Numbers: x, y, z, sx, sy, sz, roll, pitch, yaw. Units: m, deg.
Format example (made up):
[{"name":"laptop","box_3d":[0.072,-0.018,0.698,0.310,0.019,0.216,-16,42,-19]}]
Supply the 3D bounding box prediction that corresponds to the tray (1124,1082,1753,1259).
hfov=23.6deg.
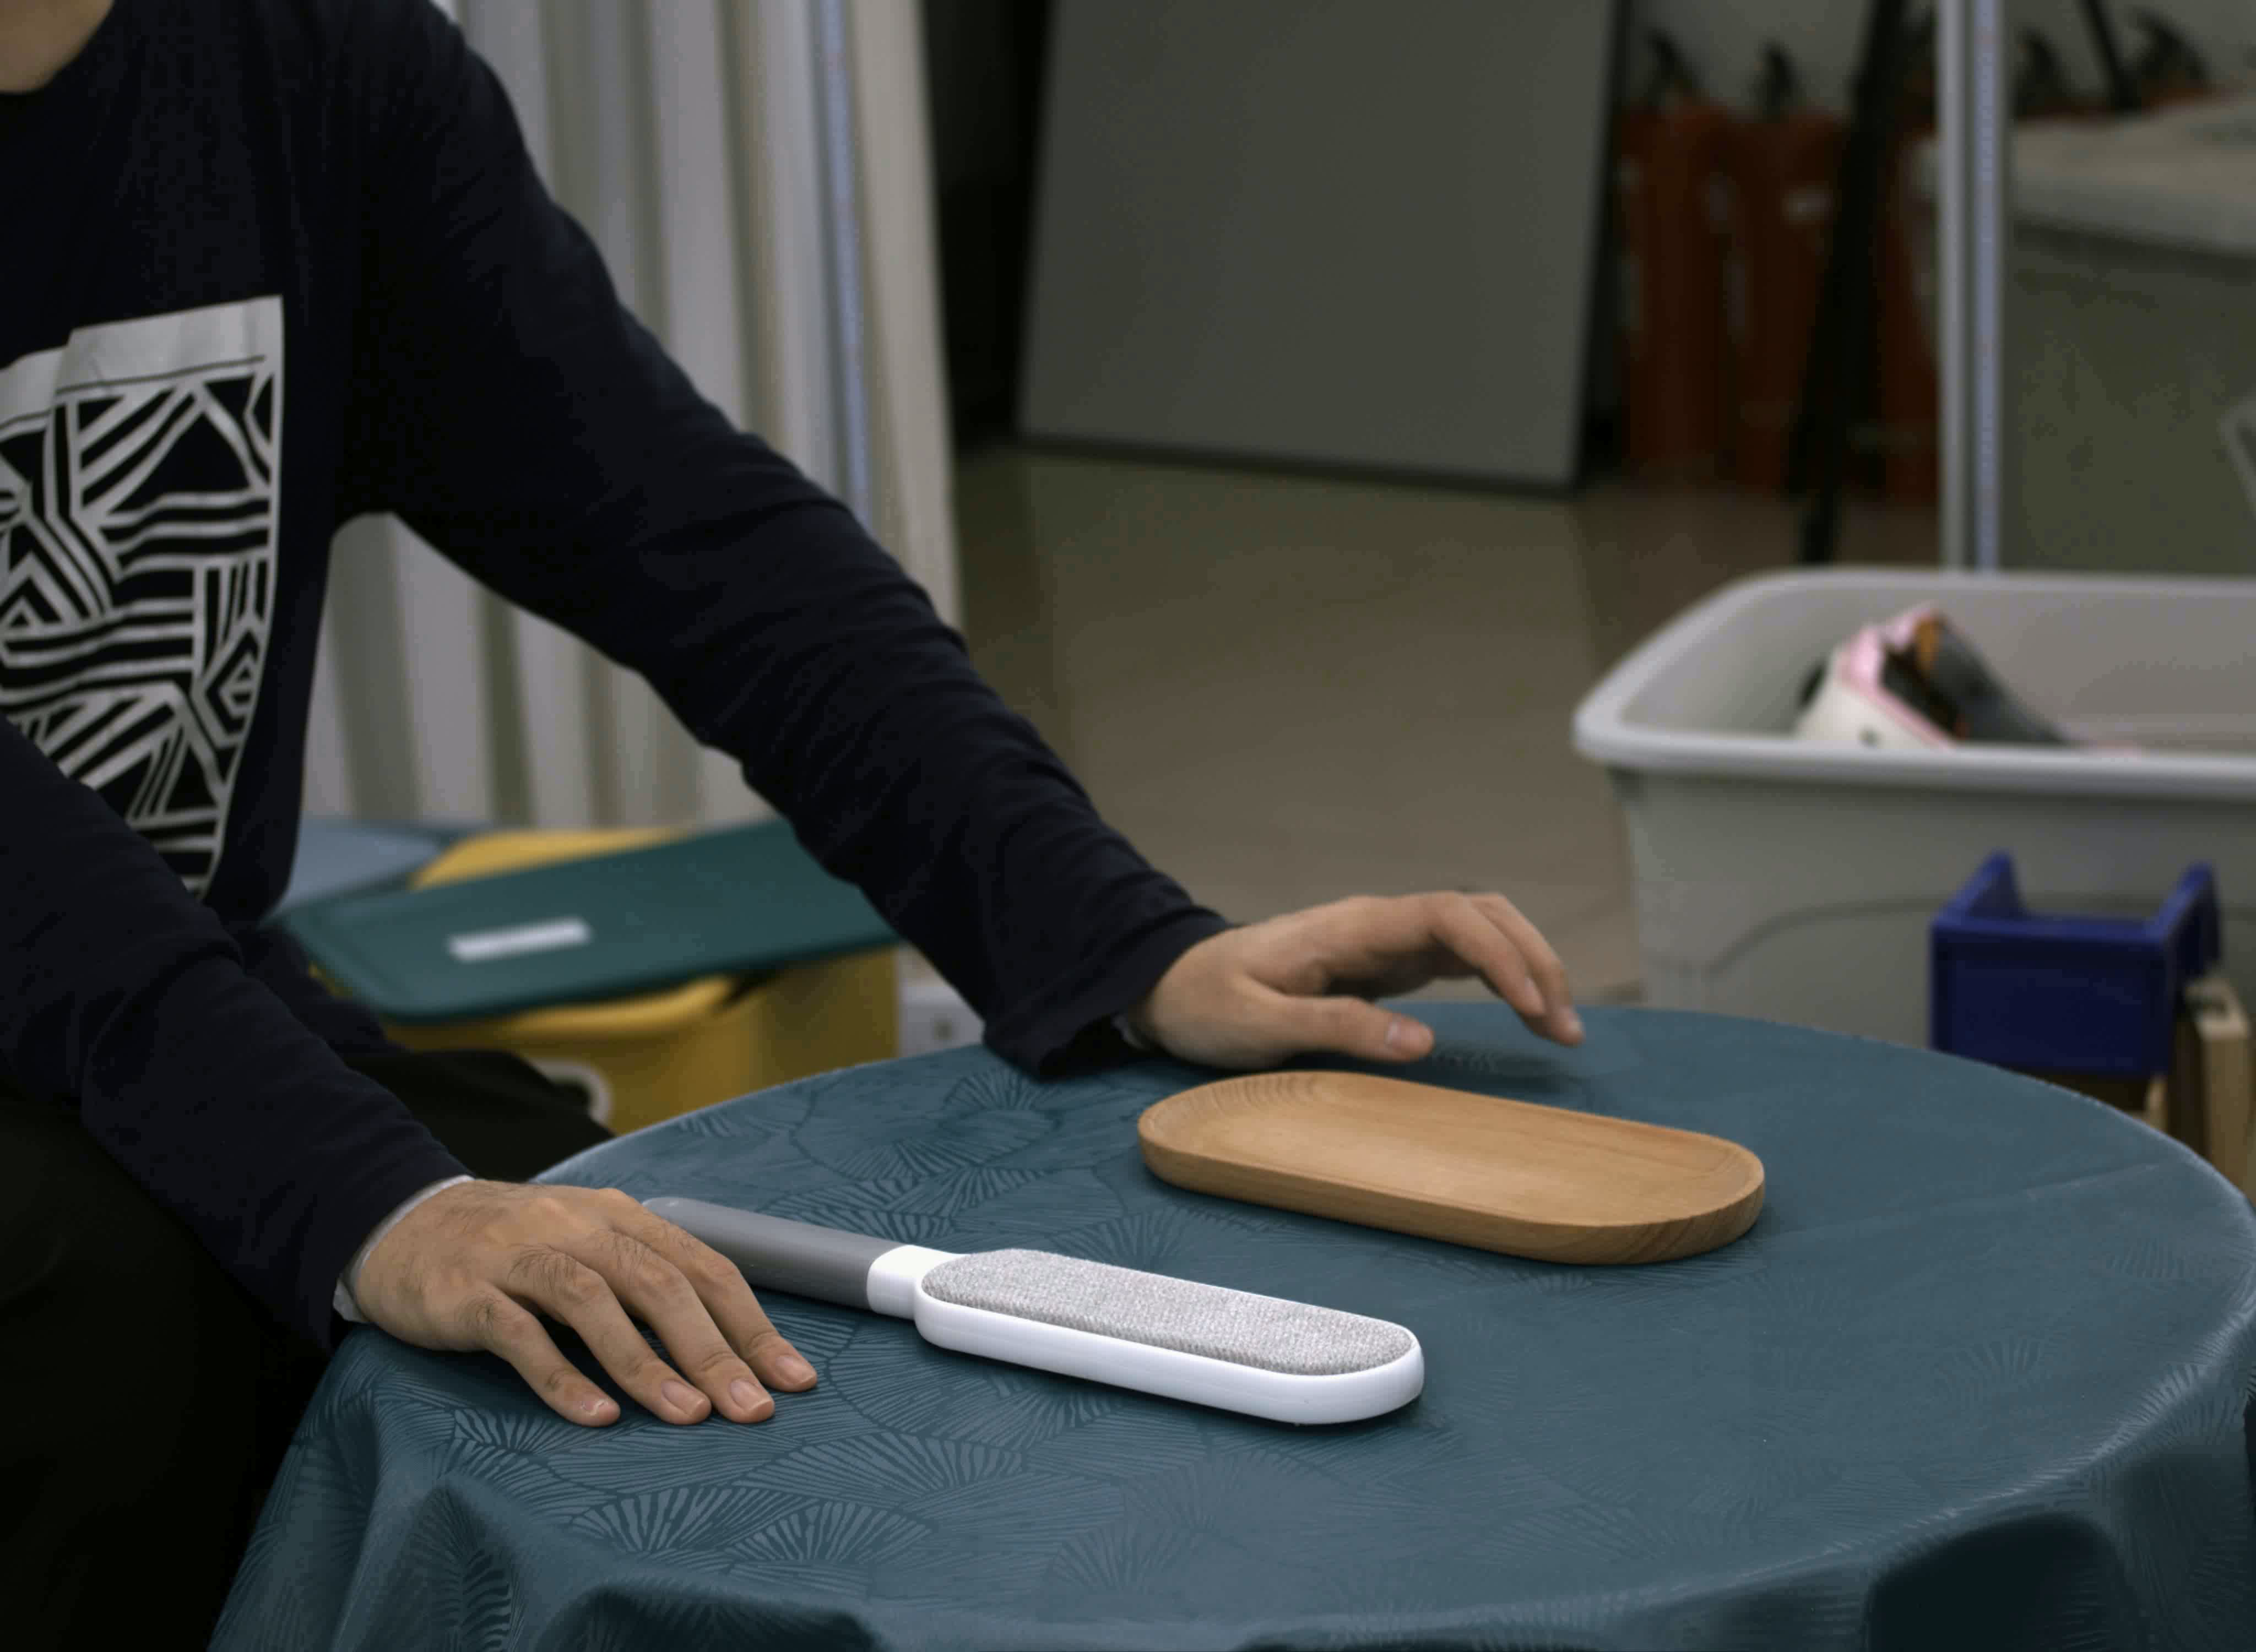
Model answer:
[{"name":"tray","box_3d":[0.099,0.112,1.754,0.233,0.020,0.100,5,14,40]}]

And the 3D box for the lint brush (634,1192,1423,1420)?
[{"name":"lint brush","box_3d":[-0.037,0.142,1.643,0.311,0.021,0.059,8,23,40]}]
